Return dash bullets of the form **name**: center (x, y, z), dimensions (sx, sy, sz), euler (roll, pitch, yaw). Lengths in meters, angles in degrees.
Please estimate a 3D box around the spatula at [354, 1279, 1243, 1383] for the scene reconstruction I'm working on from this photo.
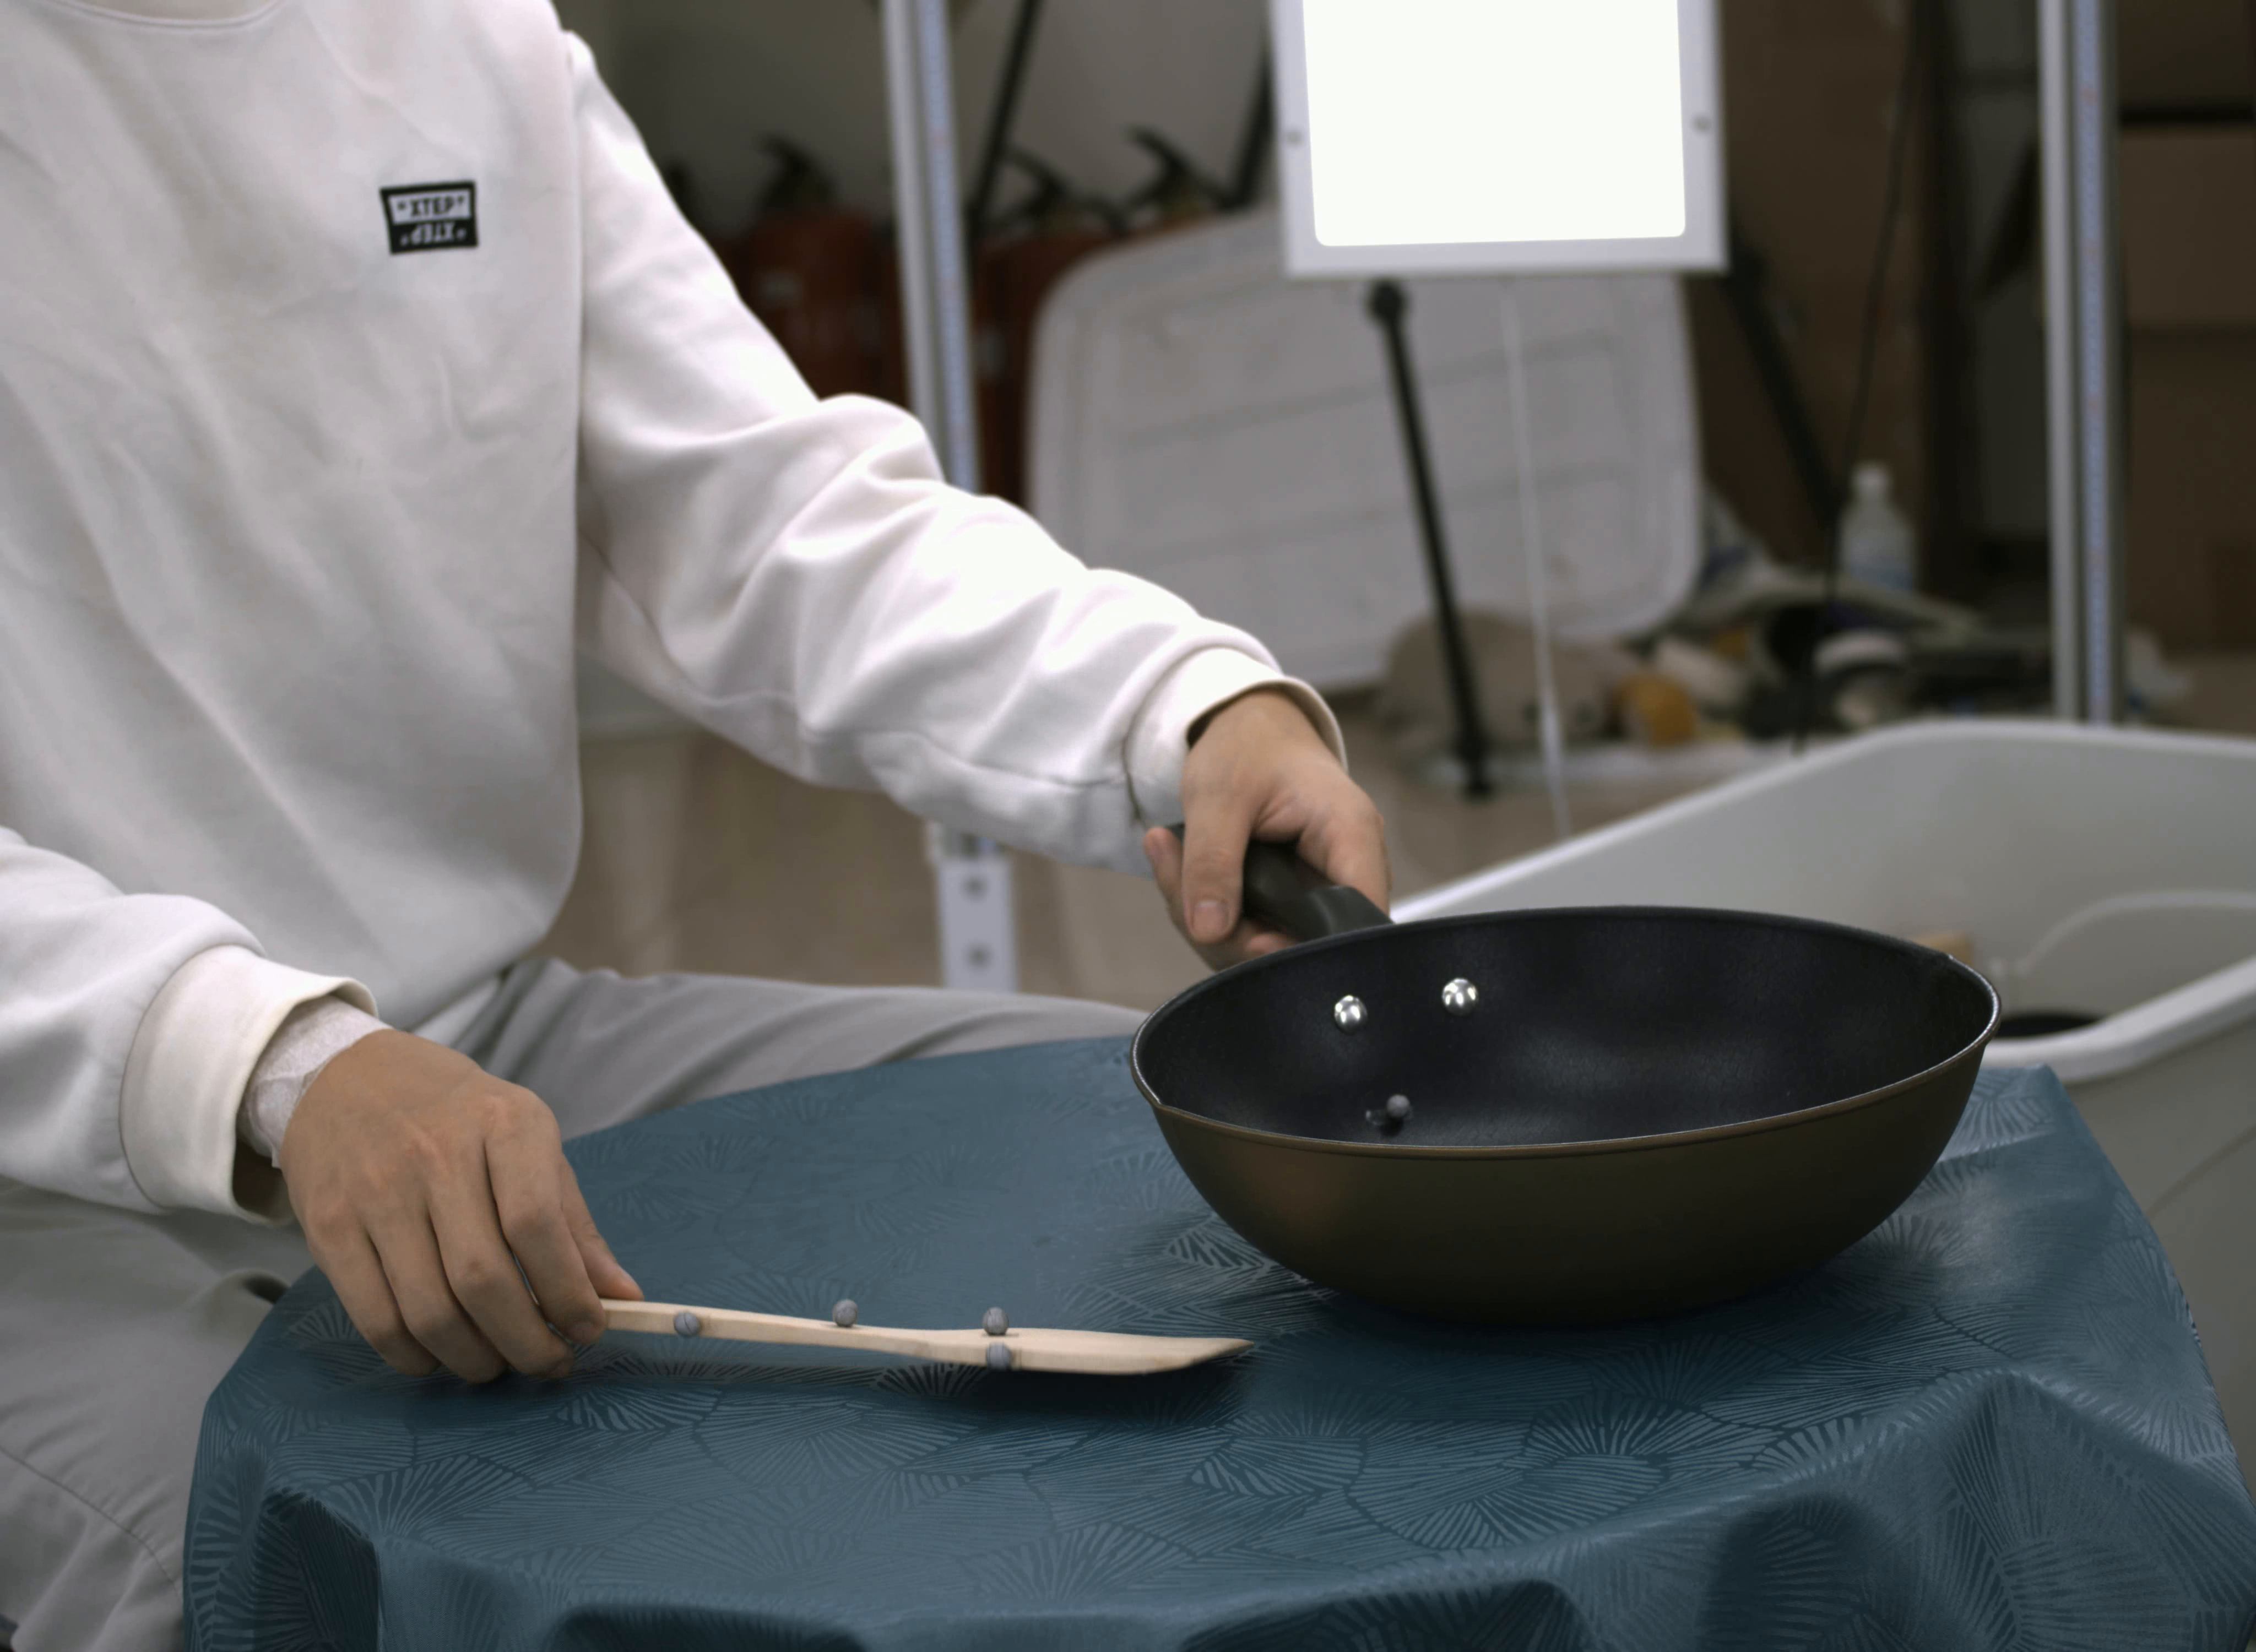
- **spatula**: center (-0.111, 0.159, 1.742), dimensions (0.297, 0.011, 0.071), euler (3, 3, 21)

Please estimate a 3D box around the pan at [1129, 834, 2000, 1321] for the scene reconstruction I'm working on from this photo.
- **pan**: center (0.111, 0.081, 1.862), dimensions (0.283, 0.087, 0.469), euler (-10, 13, -19)
